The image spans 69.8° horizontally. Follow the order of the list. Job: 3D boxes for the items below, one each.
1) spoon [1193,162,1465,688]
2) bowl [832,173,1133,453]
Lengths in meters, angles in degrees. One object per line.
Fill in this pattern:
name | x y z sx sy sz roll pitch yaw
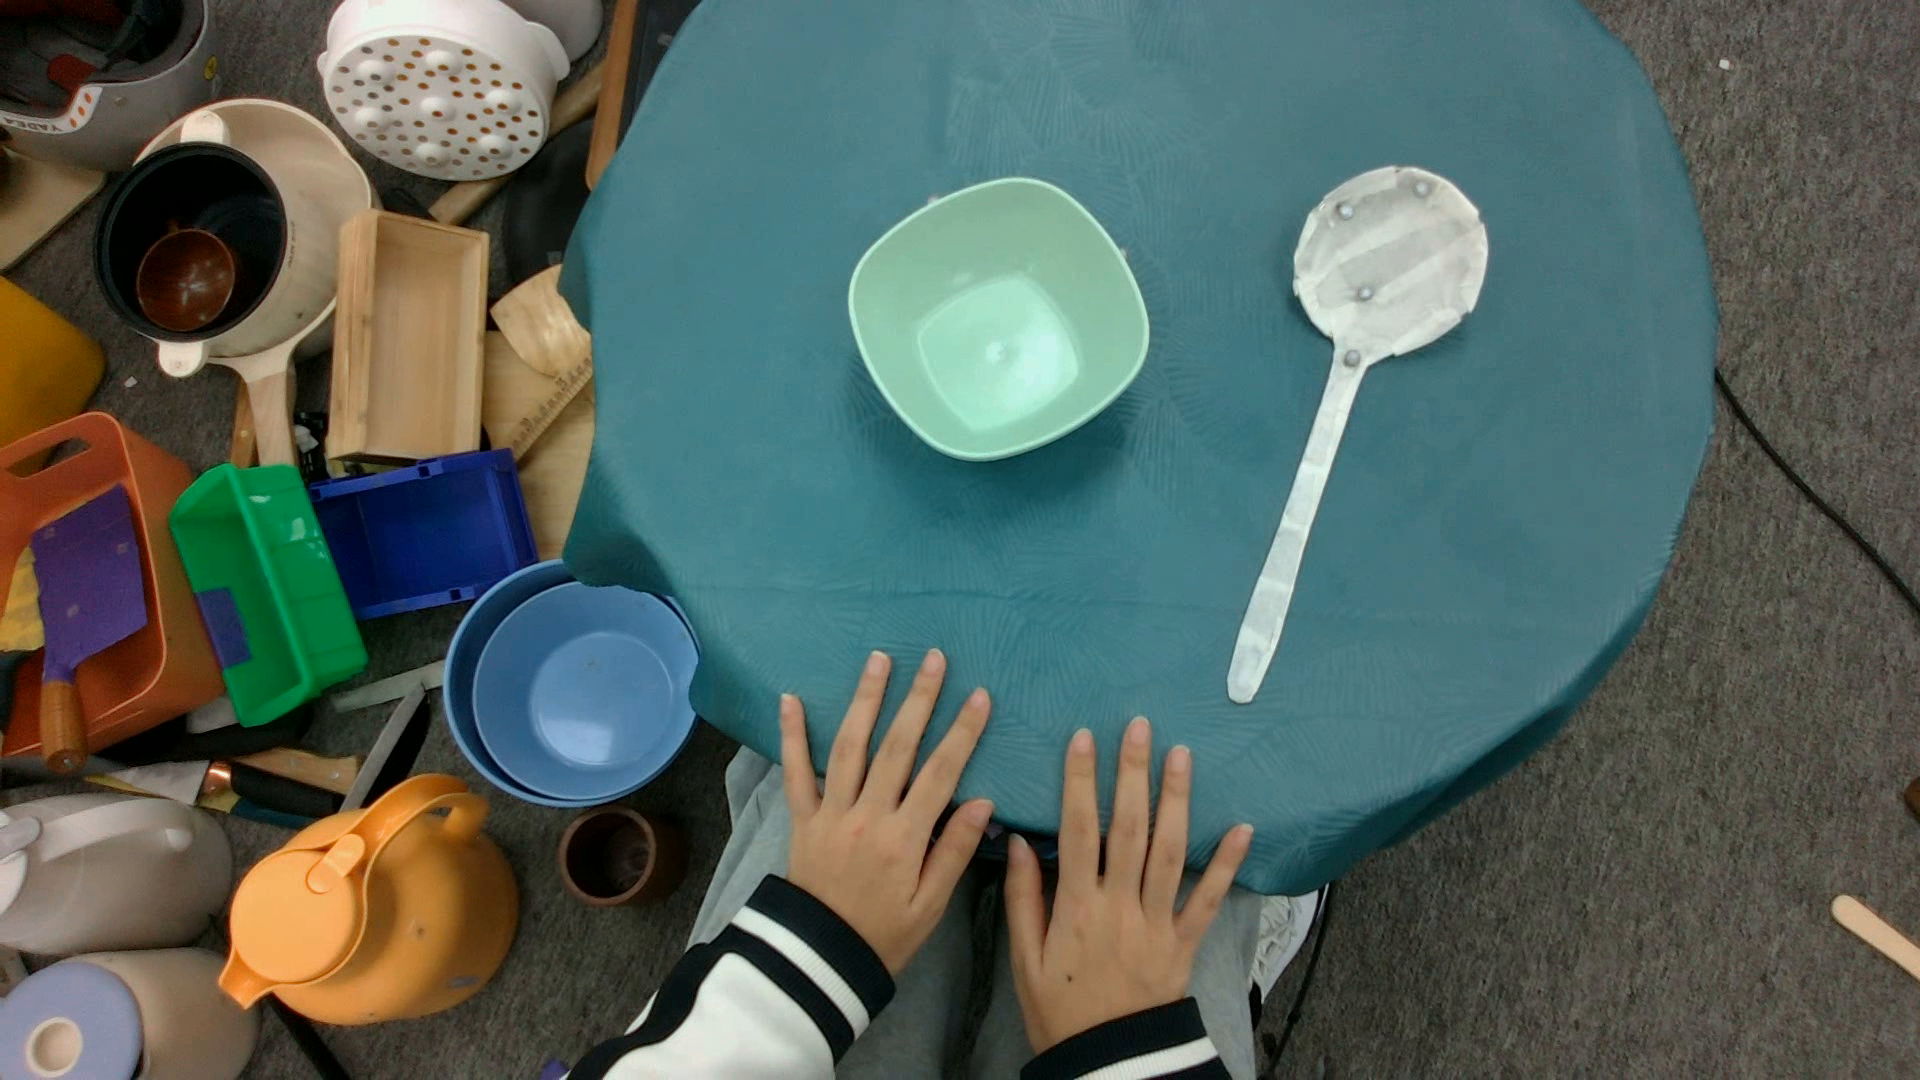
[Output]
spoon | 0.168 -0.060 0.688 0.100 0.059 0.278 21 76 11
bowl | 0.011 -0.108 0.705 0.151 0.058 0.152 0 75 1
